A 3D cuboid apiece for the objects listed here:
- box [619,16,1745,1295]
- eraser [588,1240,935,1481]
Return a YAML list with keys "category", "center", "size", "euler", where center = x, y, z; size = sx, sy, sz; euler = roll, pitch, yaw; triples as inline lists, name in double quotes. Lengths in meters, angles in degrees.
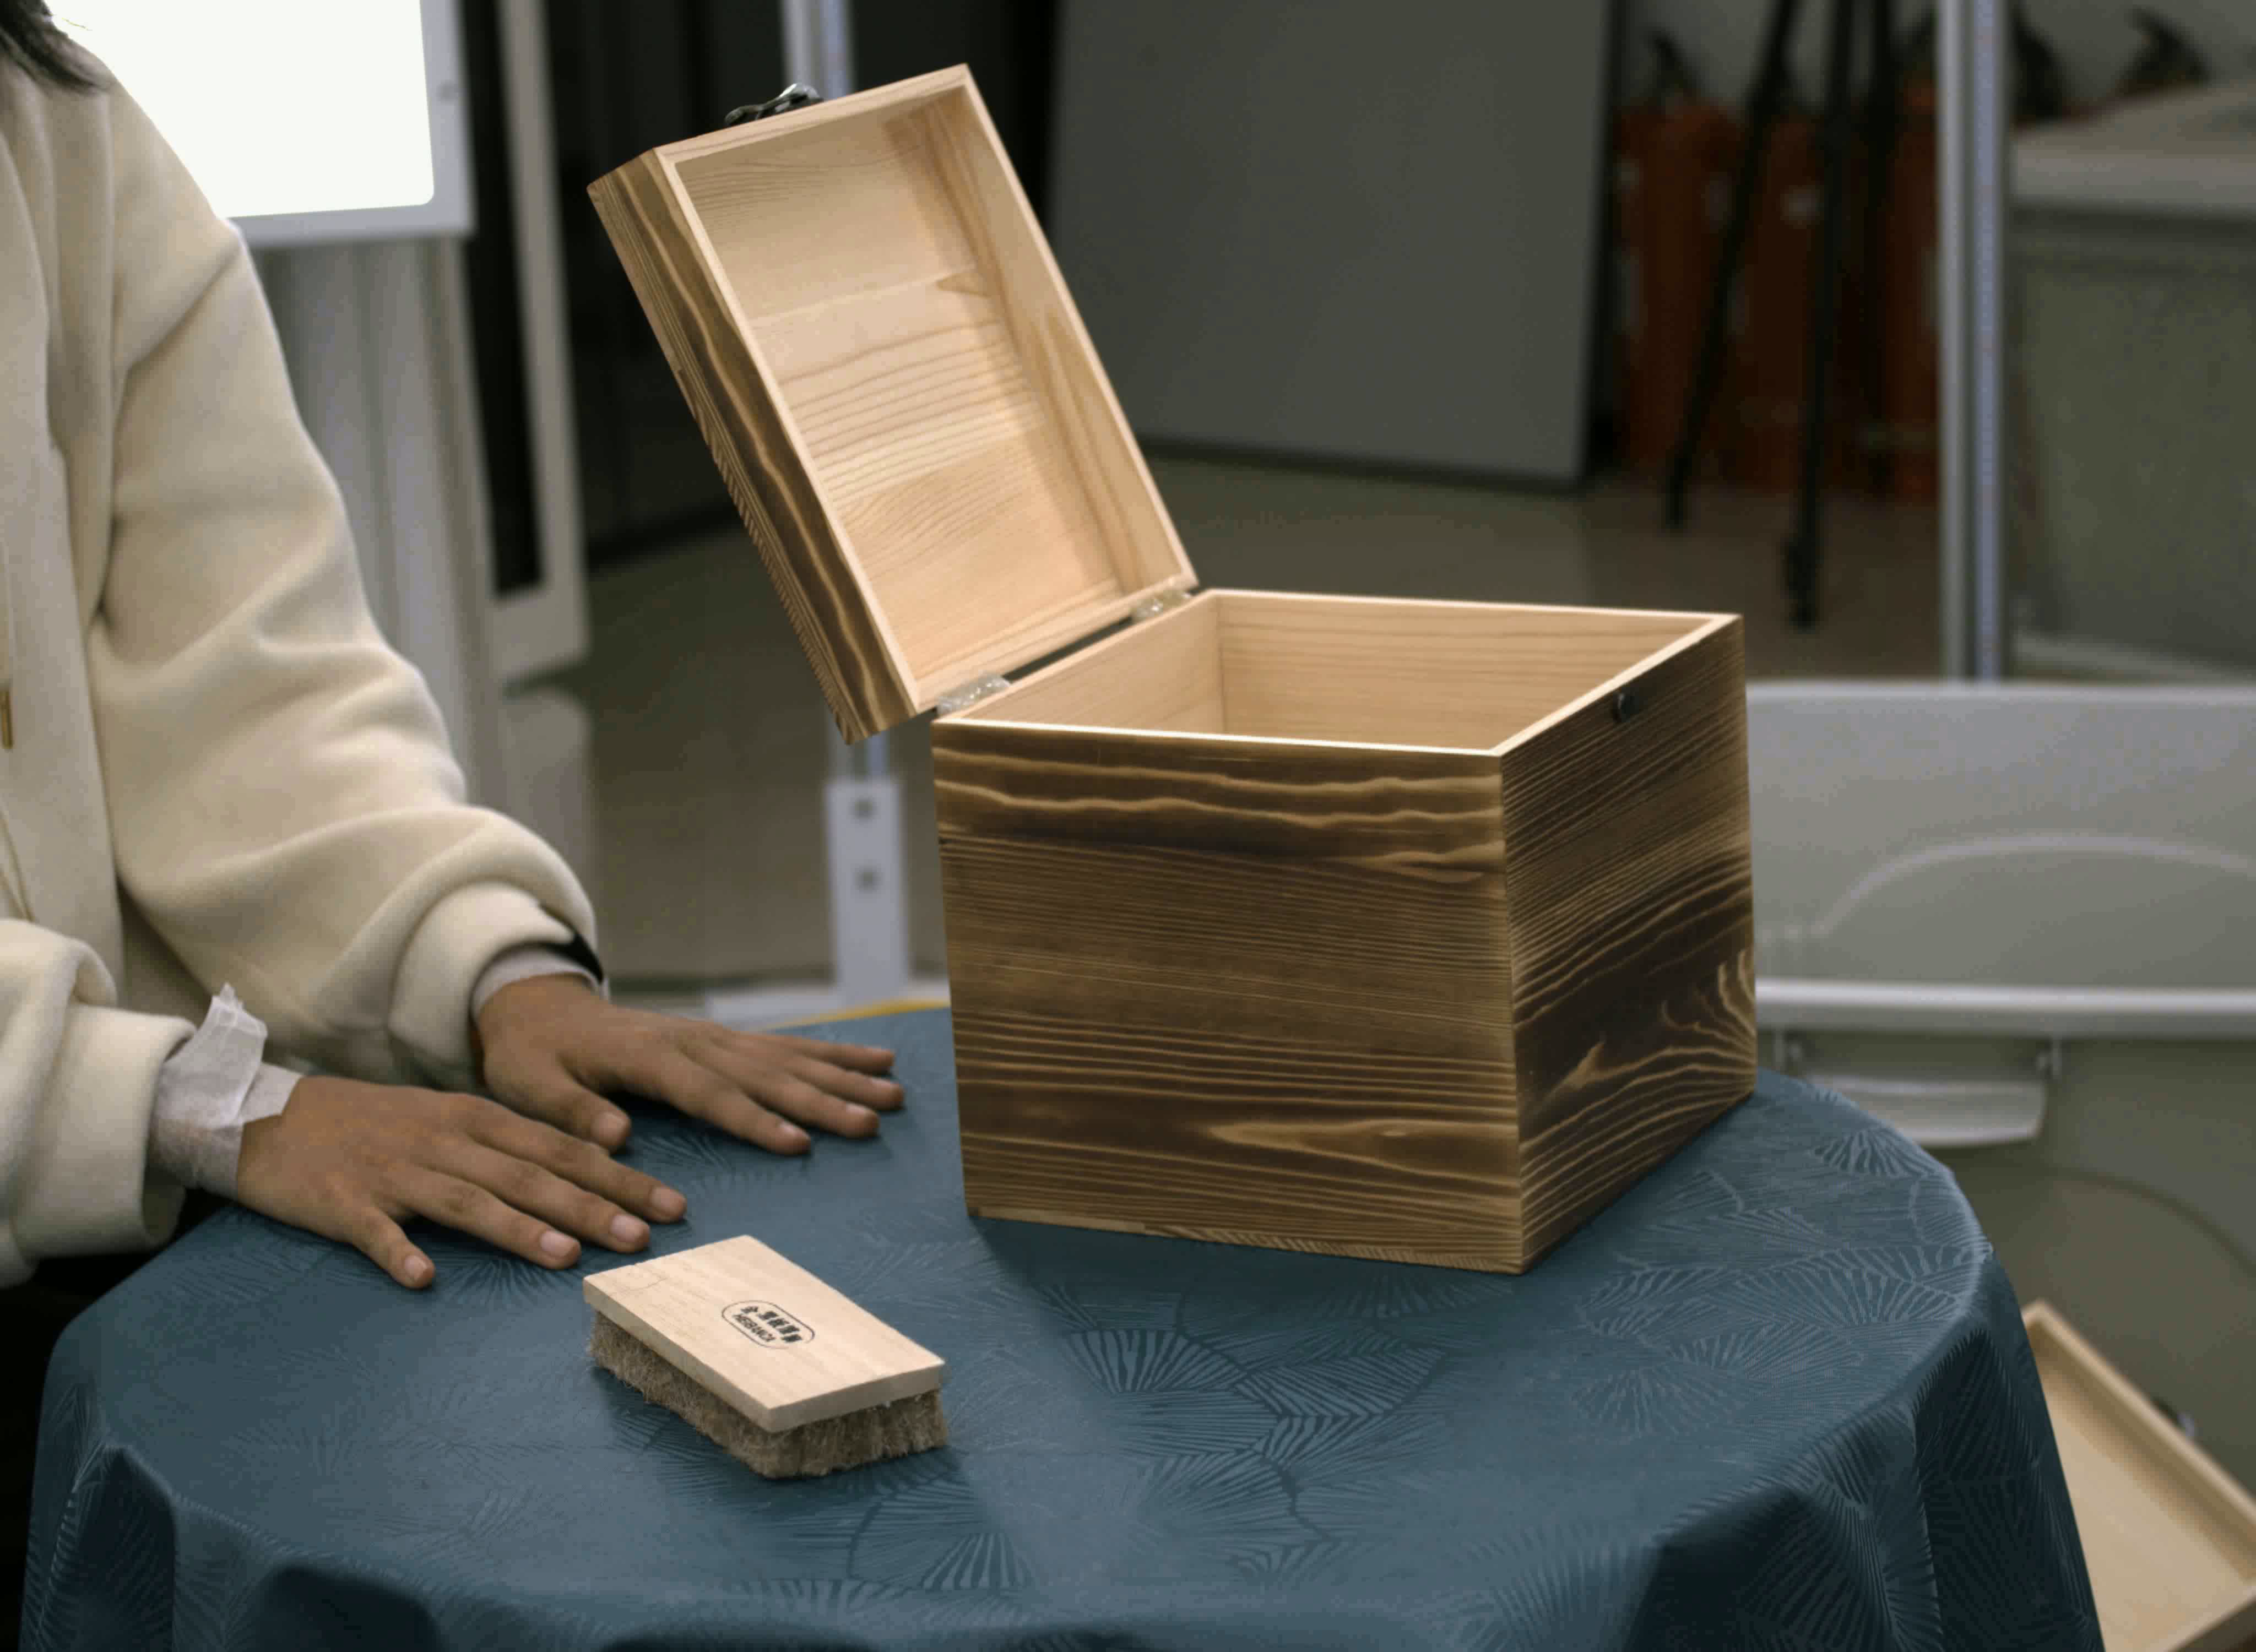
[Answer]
- category: "box"
  center: [0.023, -0.070, 1.771]
  size: [0.323, 0.379, 0.206]
  euler: [4, 16, 28]
- category: "eraser"
  center: [-0.108, 0.158, 1.592]
  size: [0.056, 0.029, 0.141]
  euler: [-13, 15, -23]
